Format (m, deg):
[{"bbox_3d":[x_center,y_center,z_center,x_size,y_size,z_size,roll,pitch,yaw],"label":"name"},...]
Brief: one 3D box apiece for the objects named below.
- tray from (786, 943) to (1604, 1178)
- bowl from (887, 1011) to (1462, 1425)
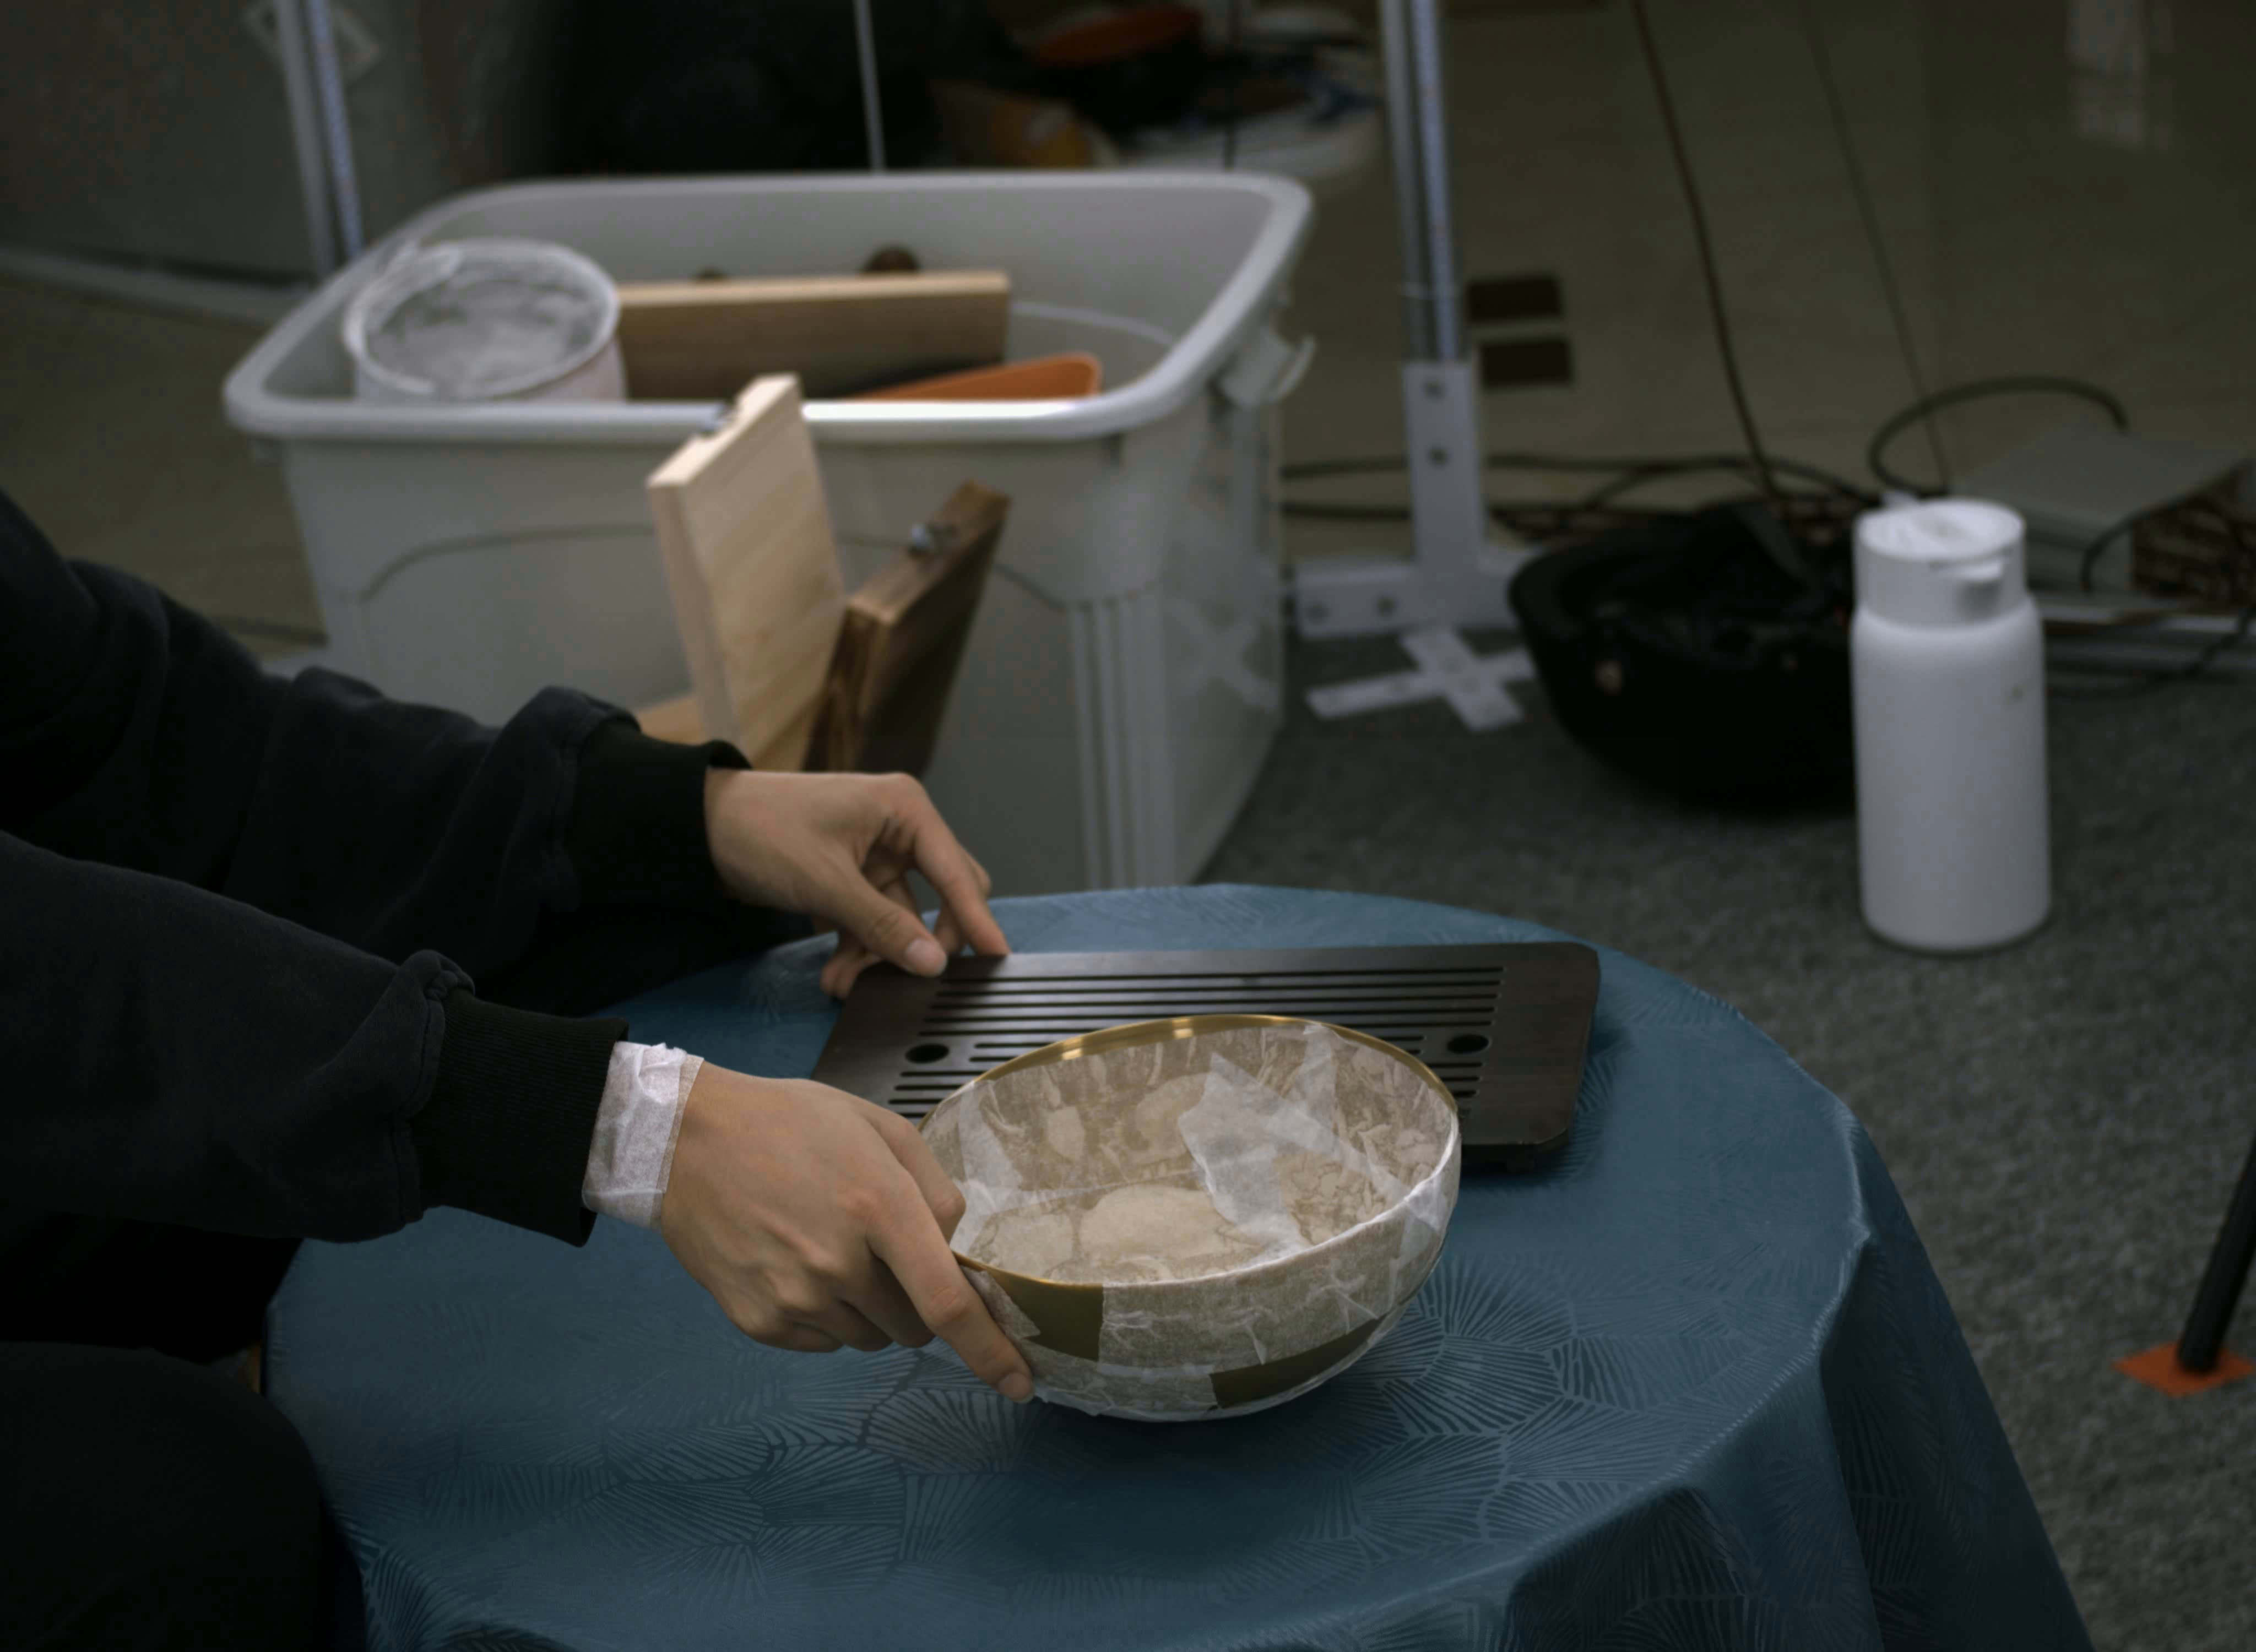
[{"bbox_3d":[0.029,0.093,2.224,0.305,0.019,0.167,-2,25,11],"label":"tray"},{"bbox_3d":[0.021,0.150,2.013,0.214,0.096,0.211,-7,26,3],"label":"bowl"}]
